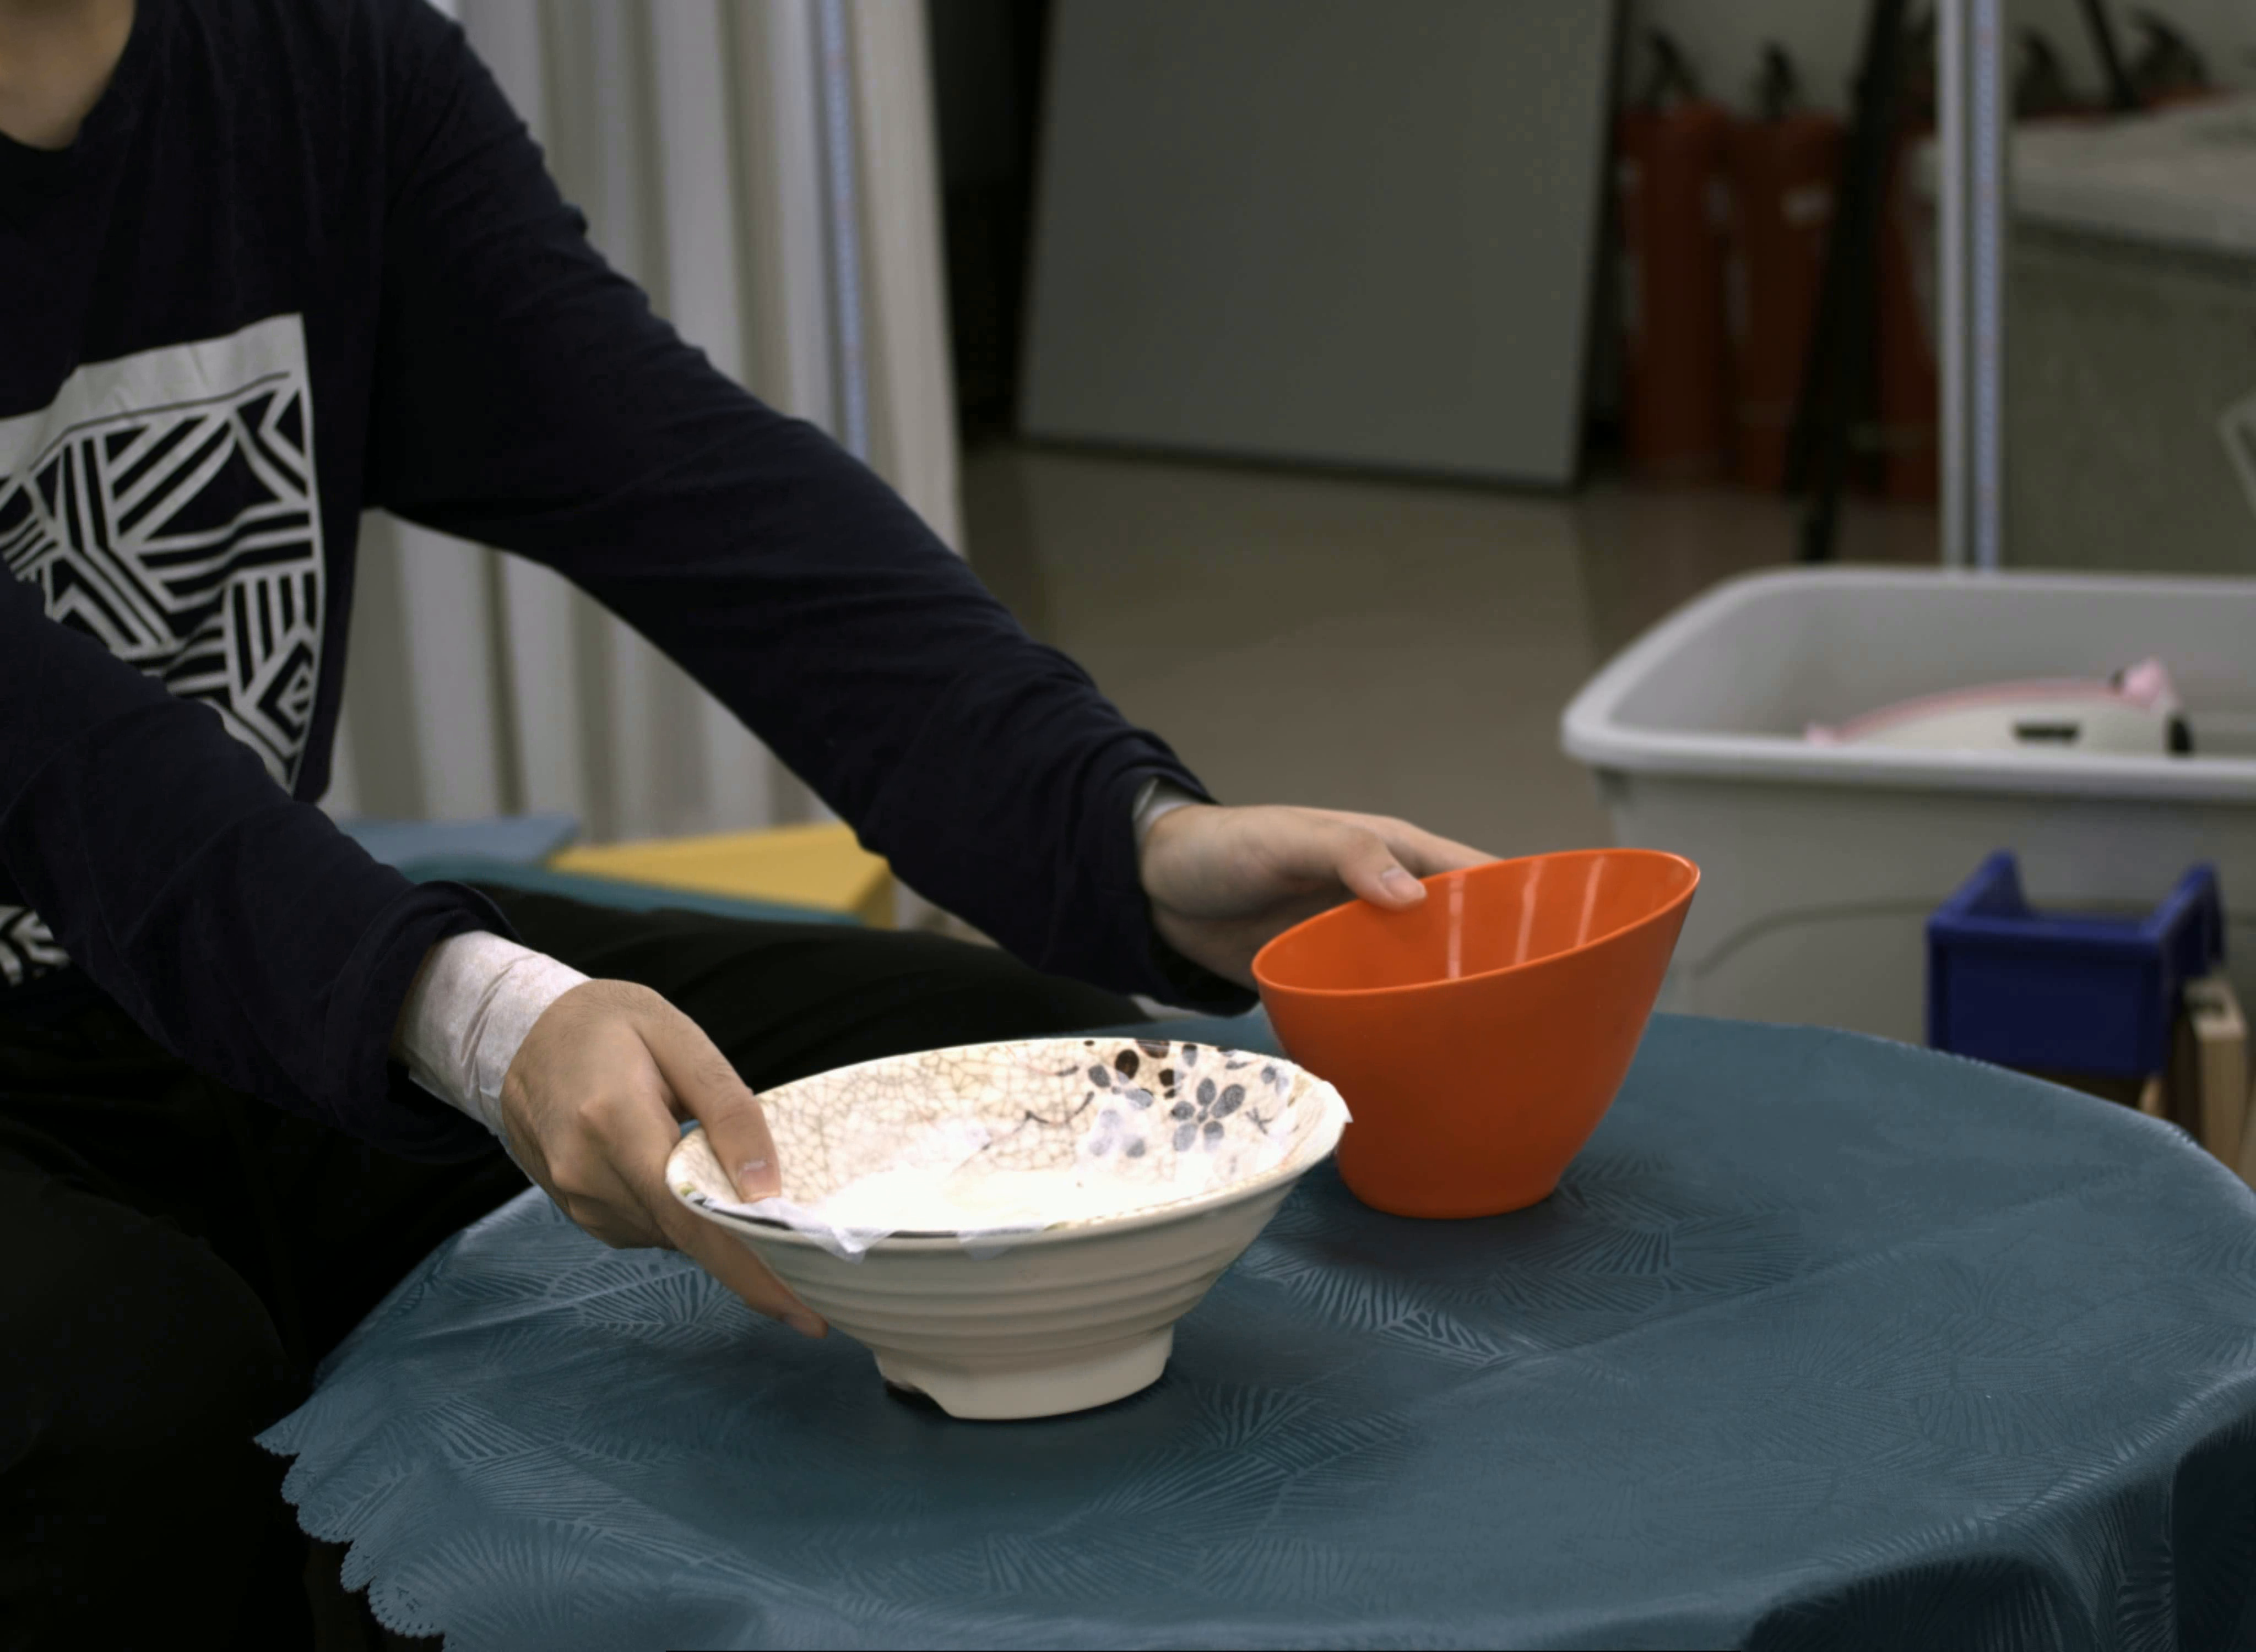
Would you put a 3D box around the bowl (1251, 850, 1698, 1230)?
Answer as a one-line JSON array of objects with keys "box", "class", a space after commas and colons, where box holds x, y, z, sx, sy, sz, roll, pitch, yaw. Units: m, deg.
[{"box": [0.114, 0.071, 1.738, 0.146, 0.106, 0.148, -6, 13, 0], "class": "bowl"}]

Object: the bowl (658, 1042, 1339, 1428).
[{"box": [-0.035, 0.127, 1.595, 0.201, 0.079, 0.204, -5, 12, 0], "class": "bowl"}]
